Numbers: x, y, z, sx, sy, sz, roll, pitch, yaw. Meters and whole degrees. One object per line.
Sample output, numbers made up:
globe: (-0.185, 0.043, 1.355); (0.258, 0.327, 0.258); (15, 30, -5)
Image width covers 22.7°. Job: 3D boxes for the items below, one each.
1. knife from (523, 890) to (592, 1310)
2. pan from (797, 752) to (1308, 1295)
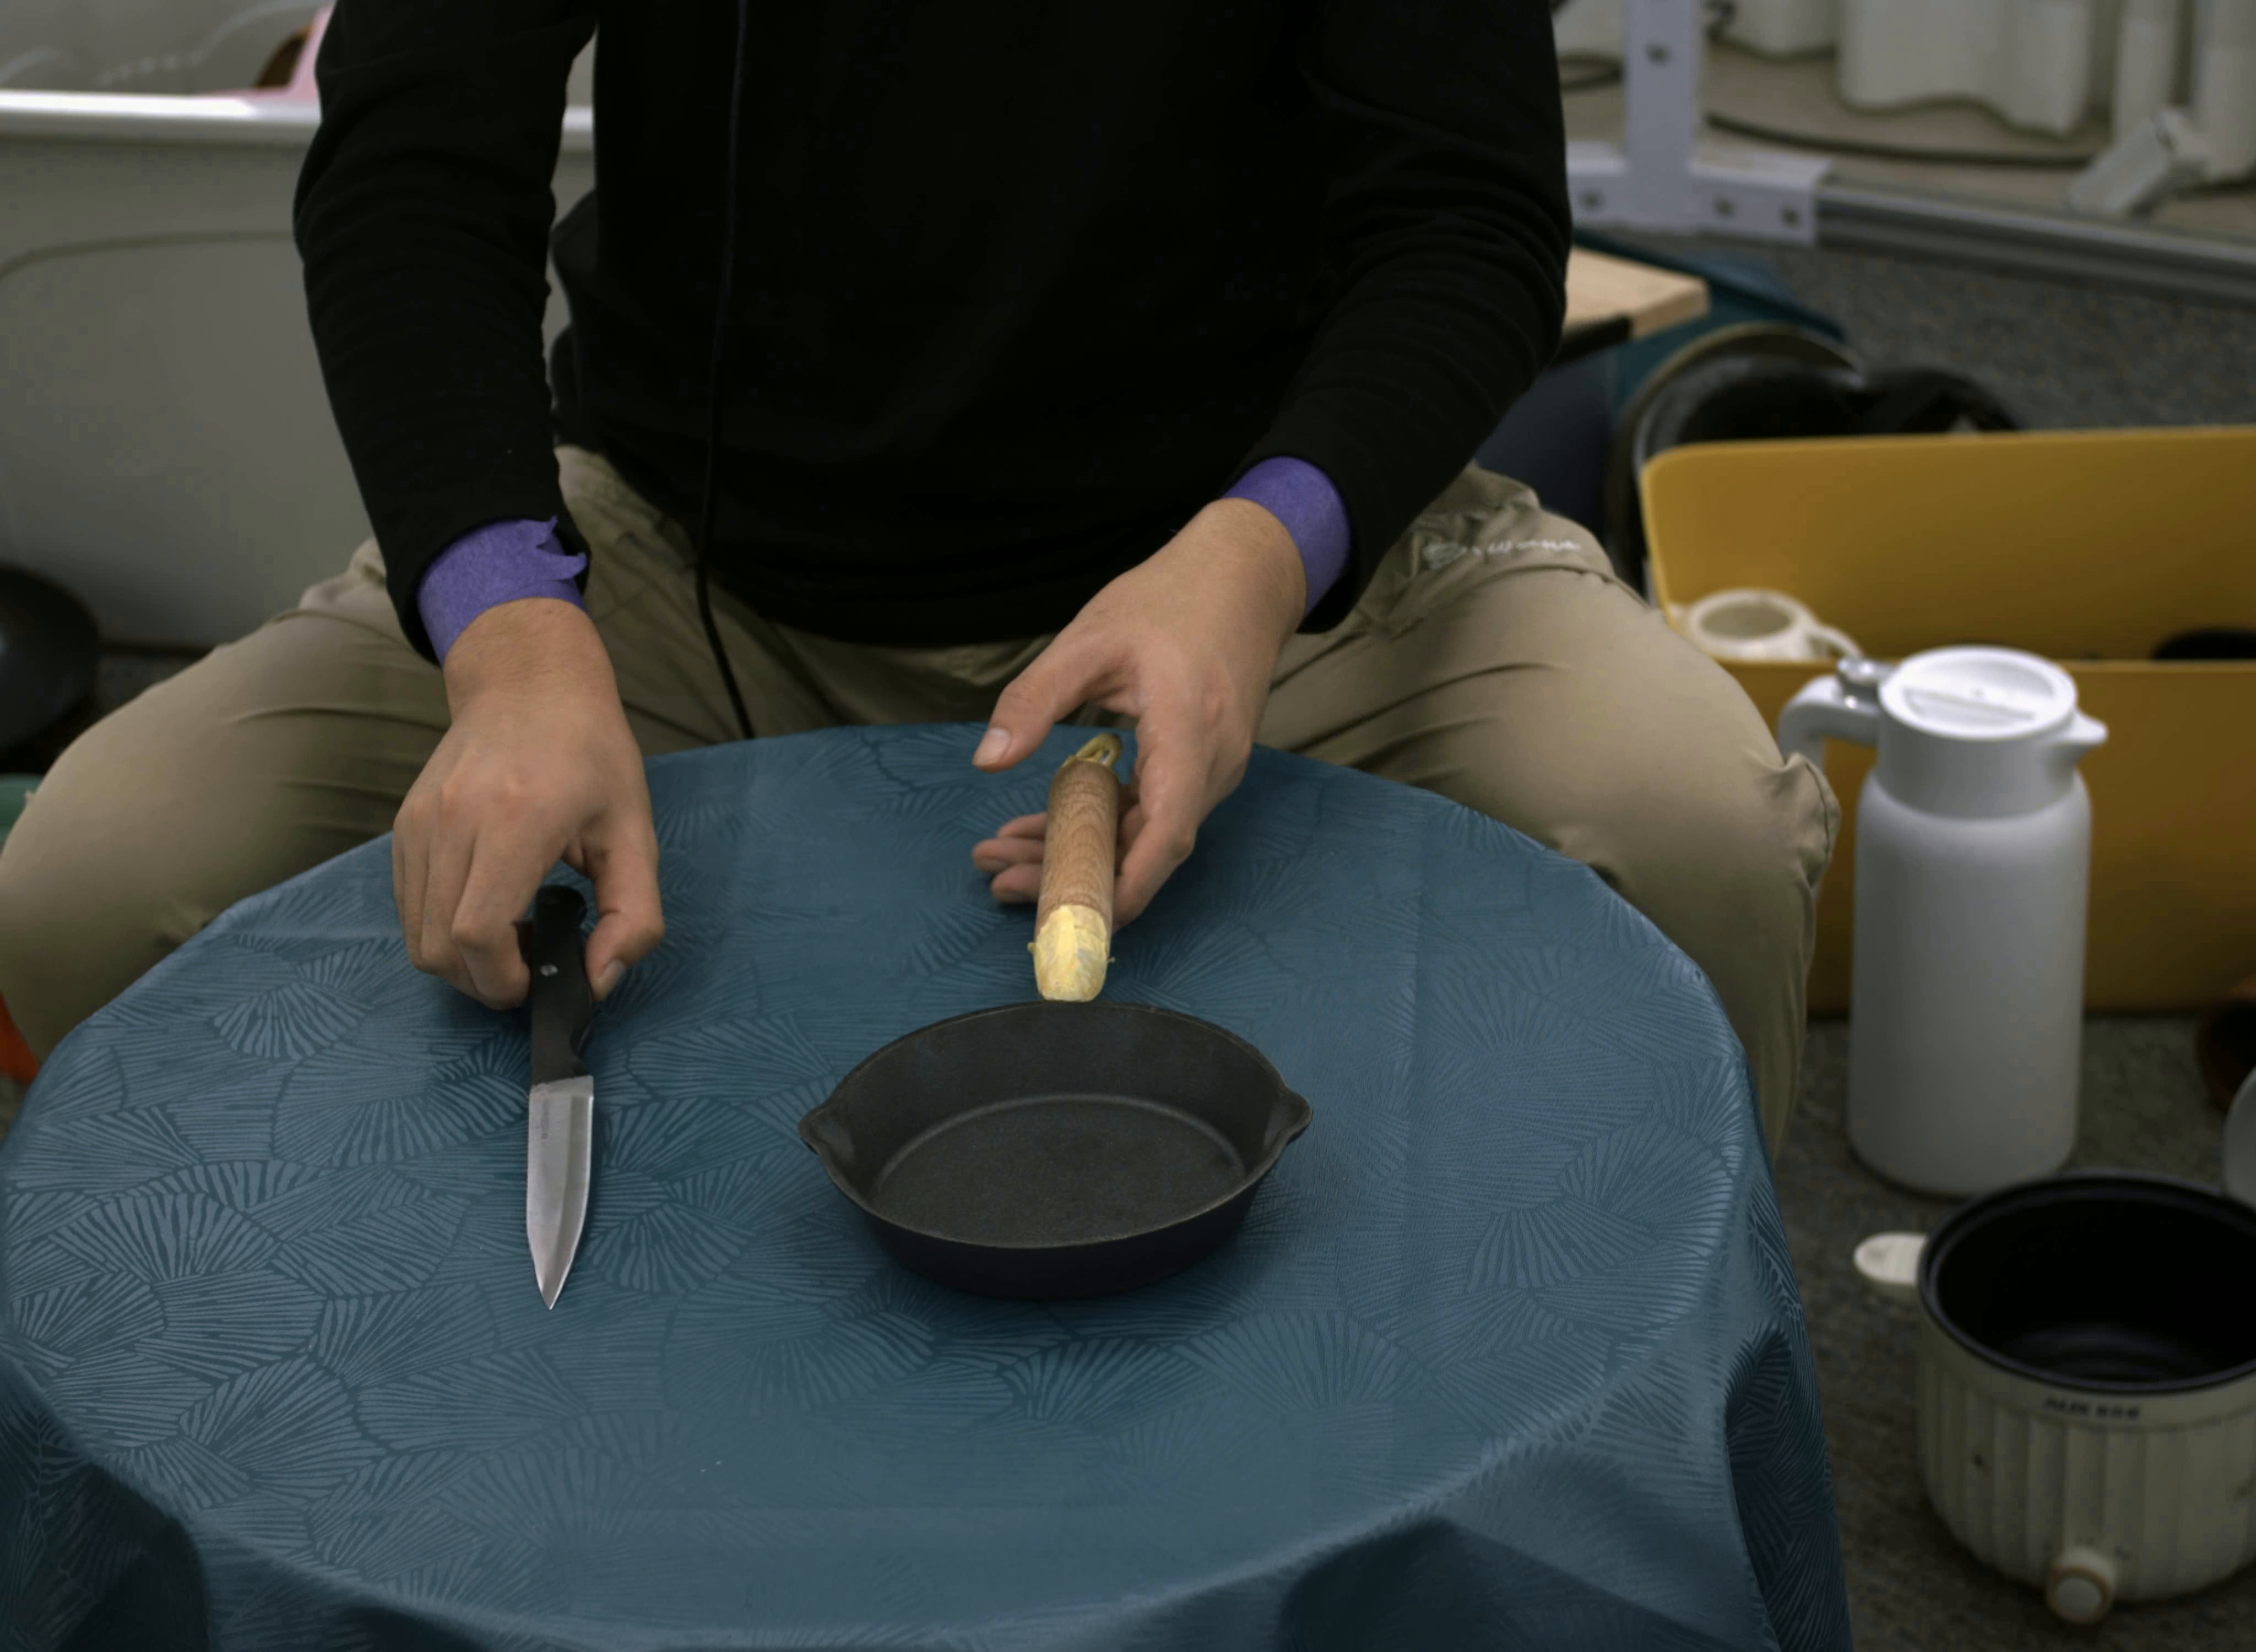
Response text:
knife: (-0.194, 0.092, 1.911); (0.024, 0.016, 0.242); (-8, 33, 0)
pan: (-0.019, 0.065, 1.921); (0.168, 0.049, 0.329); (0, 27, 5)
